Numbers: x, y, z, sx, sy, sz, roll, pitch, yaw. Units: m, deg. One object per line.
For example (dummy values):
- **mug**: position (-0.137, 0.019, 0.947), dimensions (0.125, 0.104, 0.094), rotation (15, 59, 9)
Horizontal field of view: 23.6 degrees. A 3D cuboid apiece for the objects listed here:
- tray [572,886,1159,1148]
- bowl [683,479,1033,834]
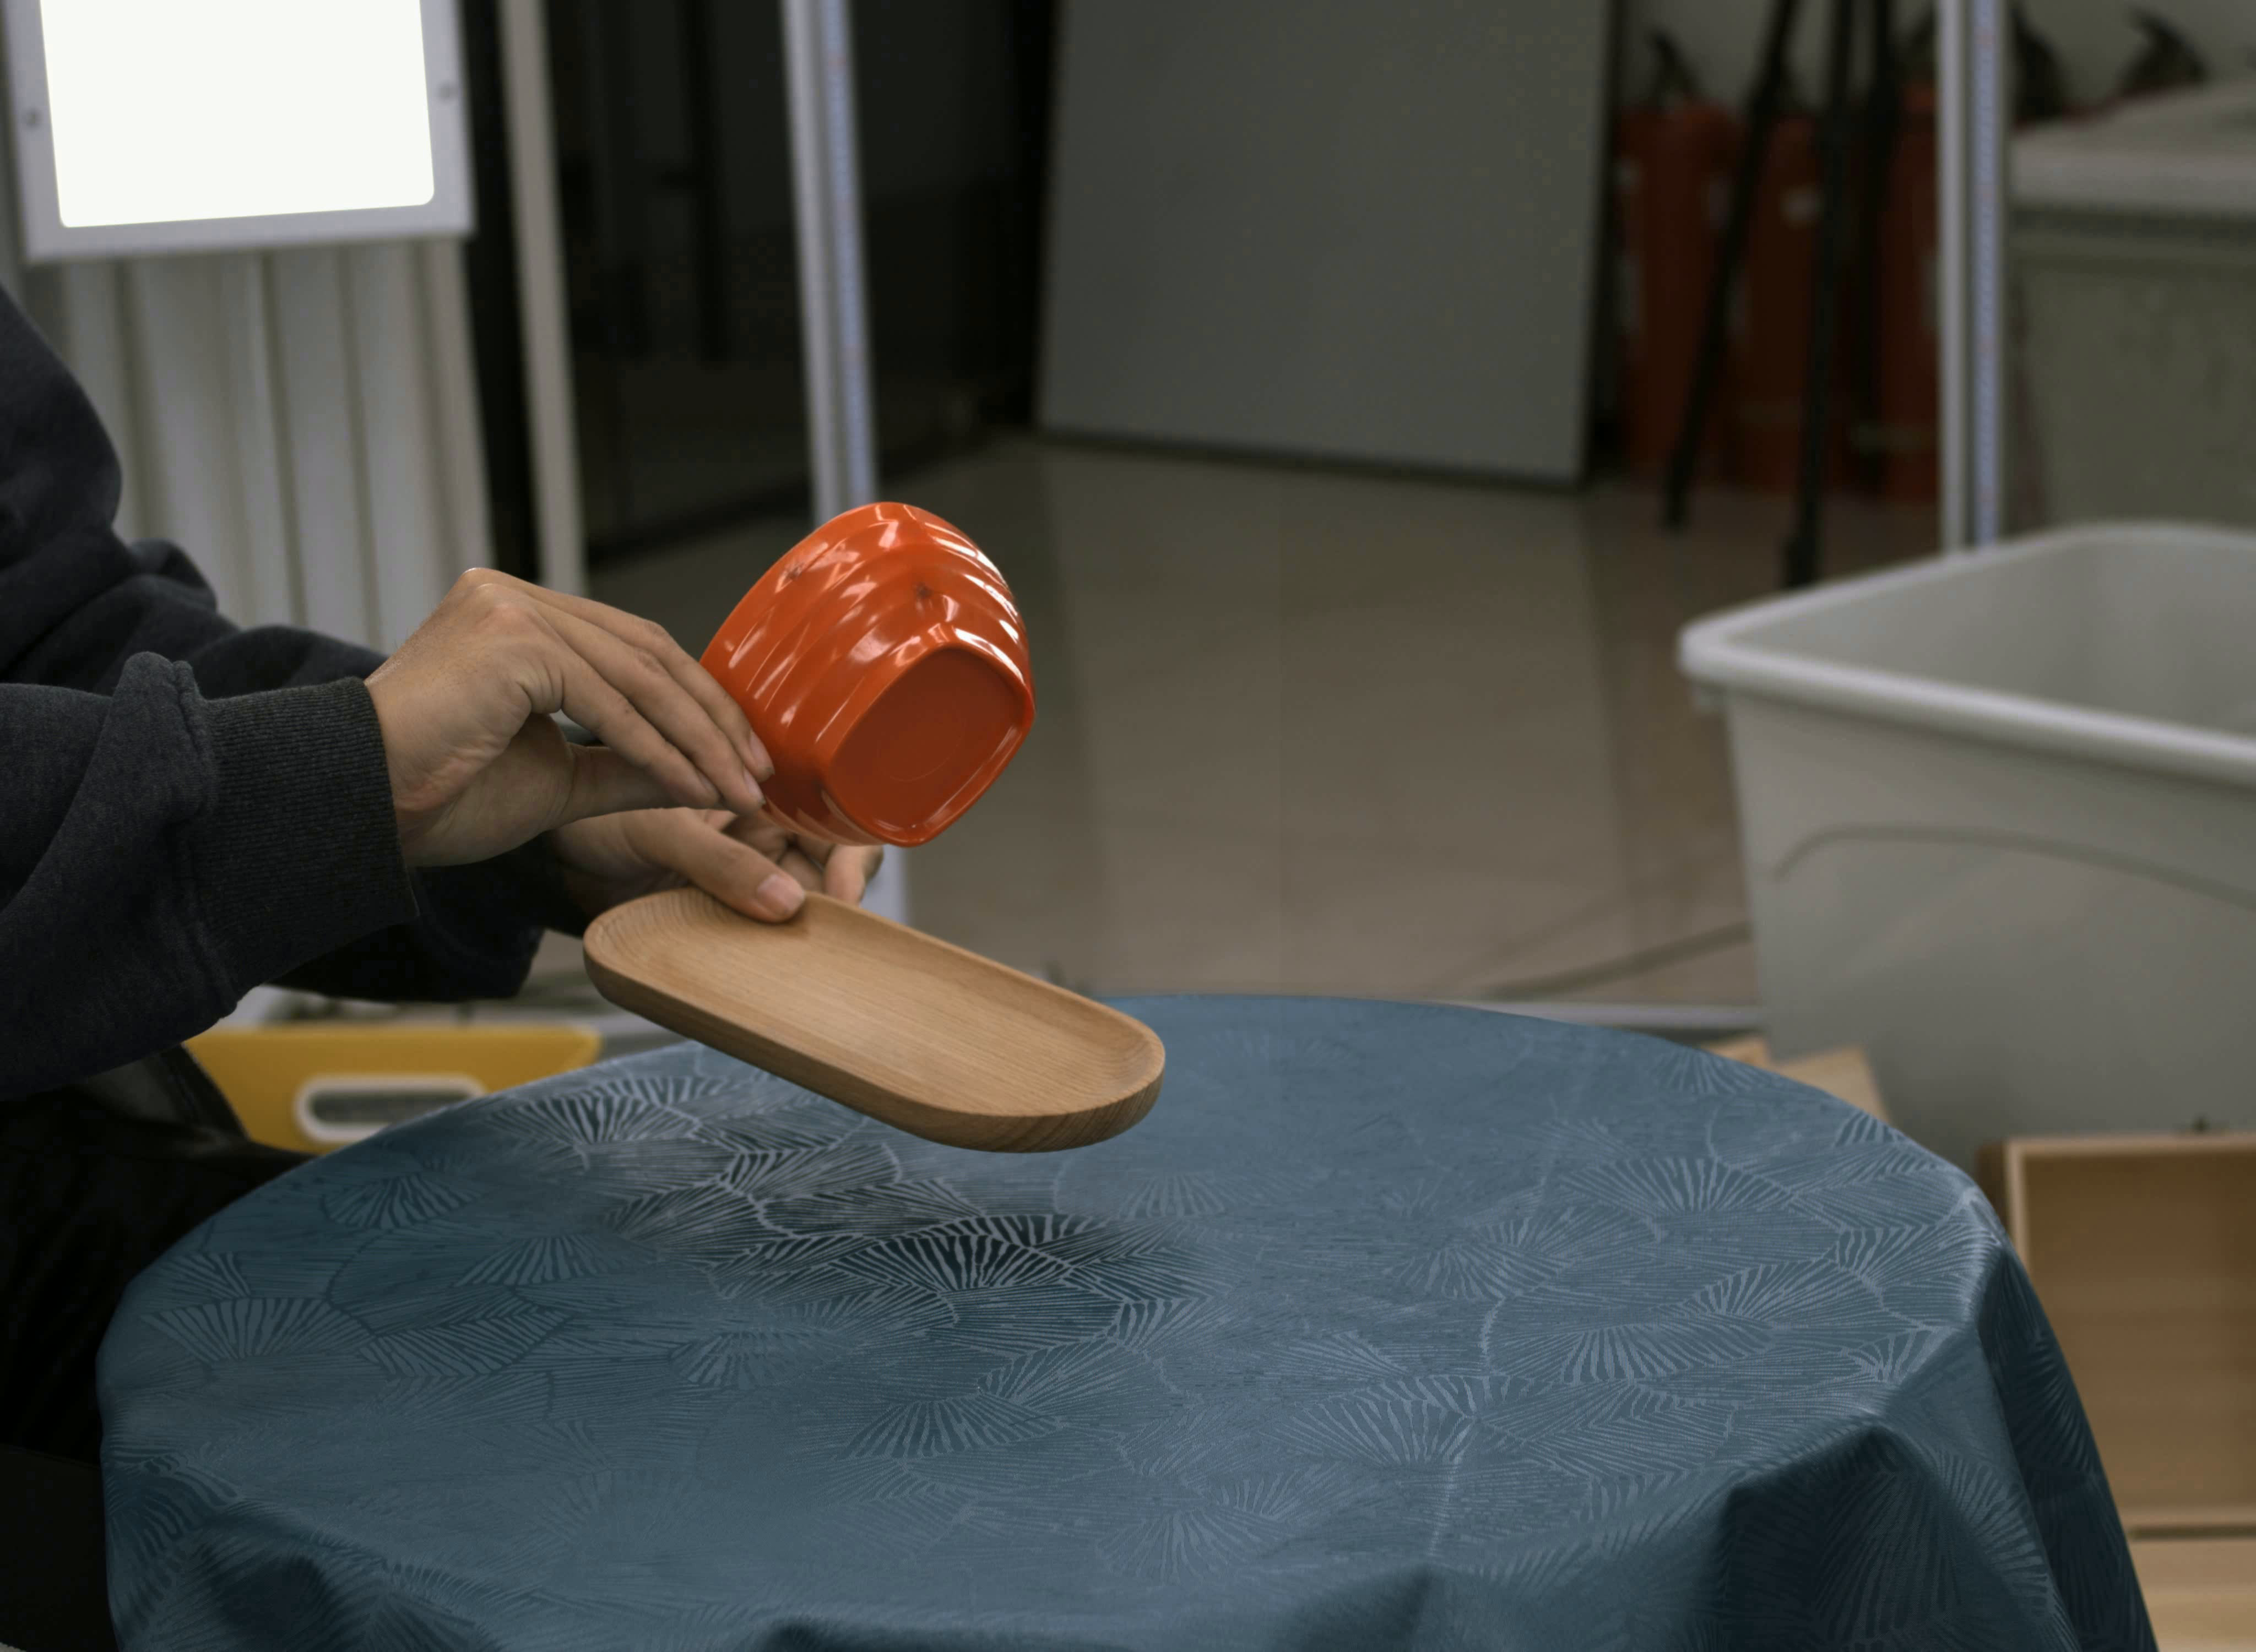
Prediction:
- **tray**: position (-0.087, 0.061, 1.754), dimensions (0.233, 0.020, 0.099), rotation (18, 25, 41)
- **bowl**: position (-0.073, -0.042, 1.651), dimensions (0.116, 0.120, 0.052), rotation (-12, 41, -33)
